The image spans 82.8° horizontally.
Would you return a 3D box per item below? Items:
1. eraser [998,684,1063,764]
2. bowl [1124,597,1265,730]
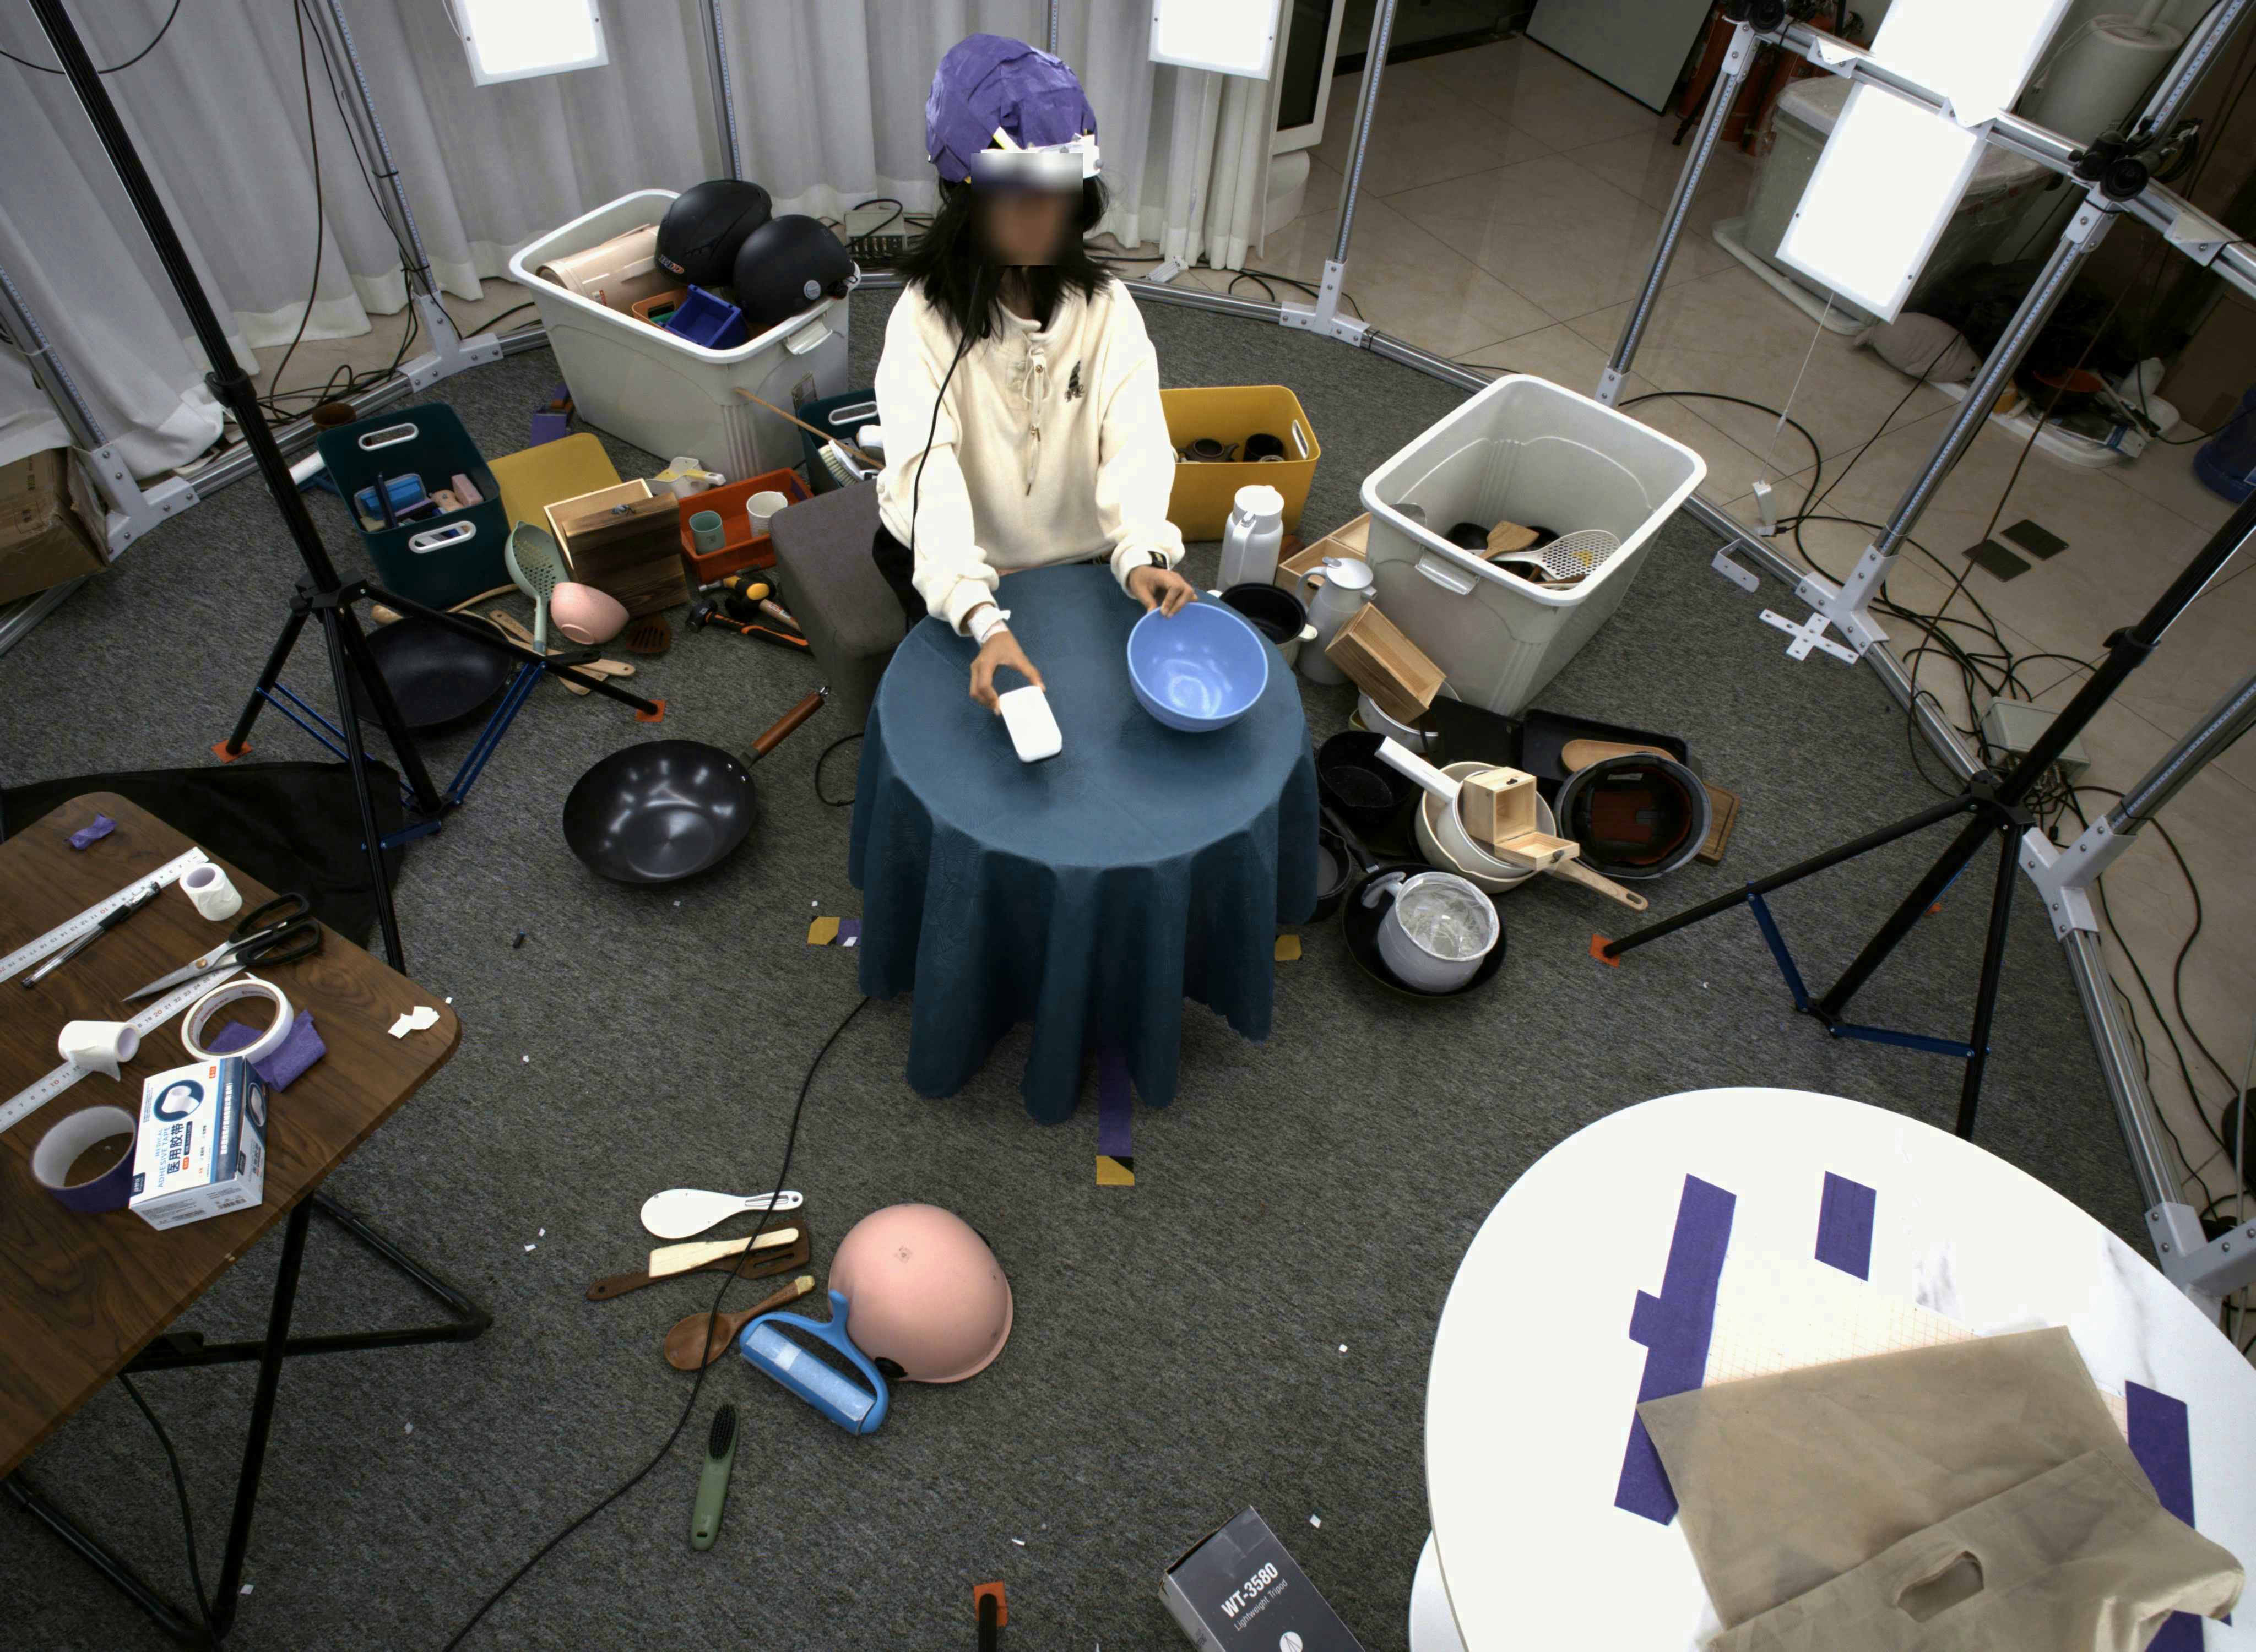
[{"bbox_3d":[-0.128,-0.139,1.704,0.063,0.033,0.134,-17,47,-7],"label":"eraser"},{"bbox_3d":[0.083,-0.211,1.784,0.196,0.094,0.200,4,63,-9],"label":"bowl"}]
